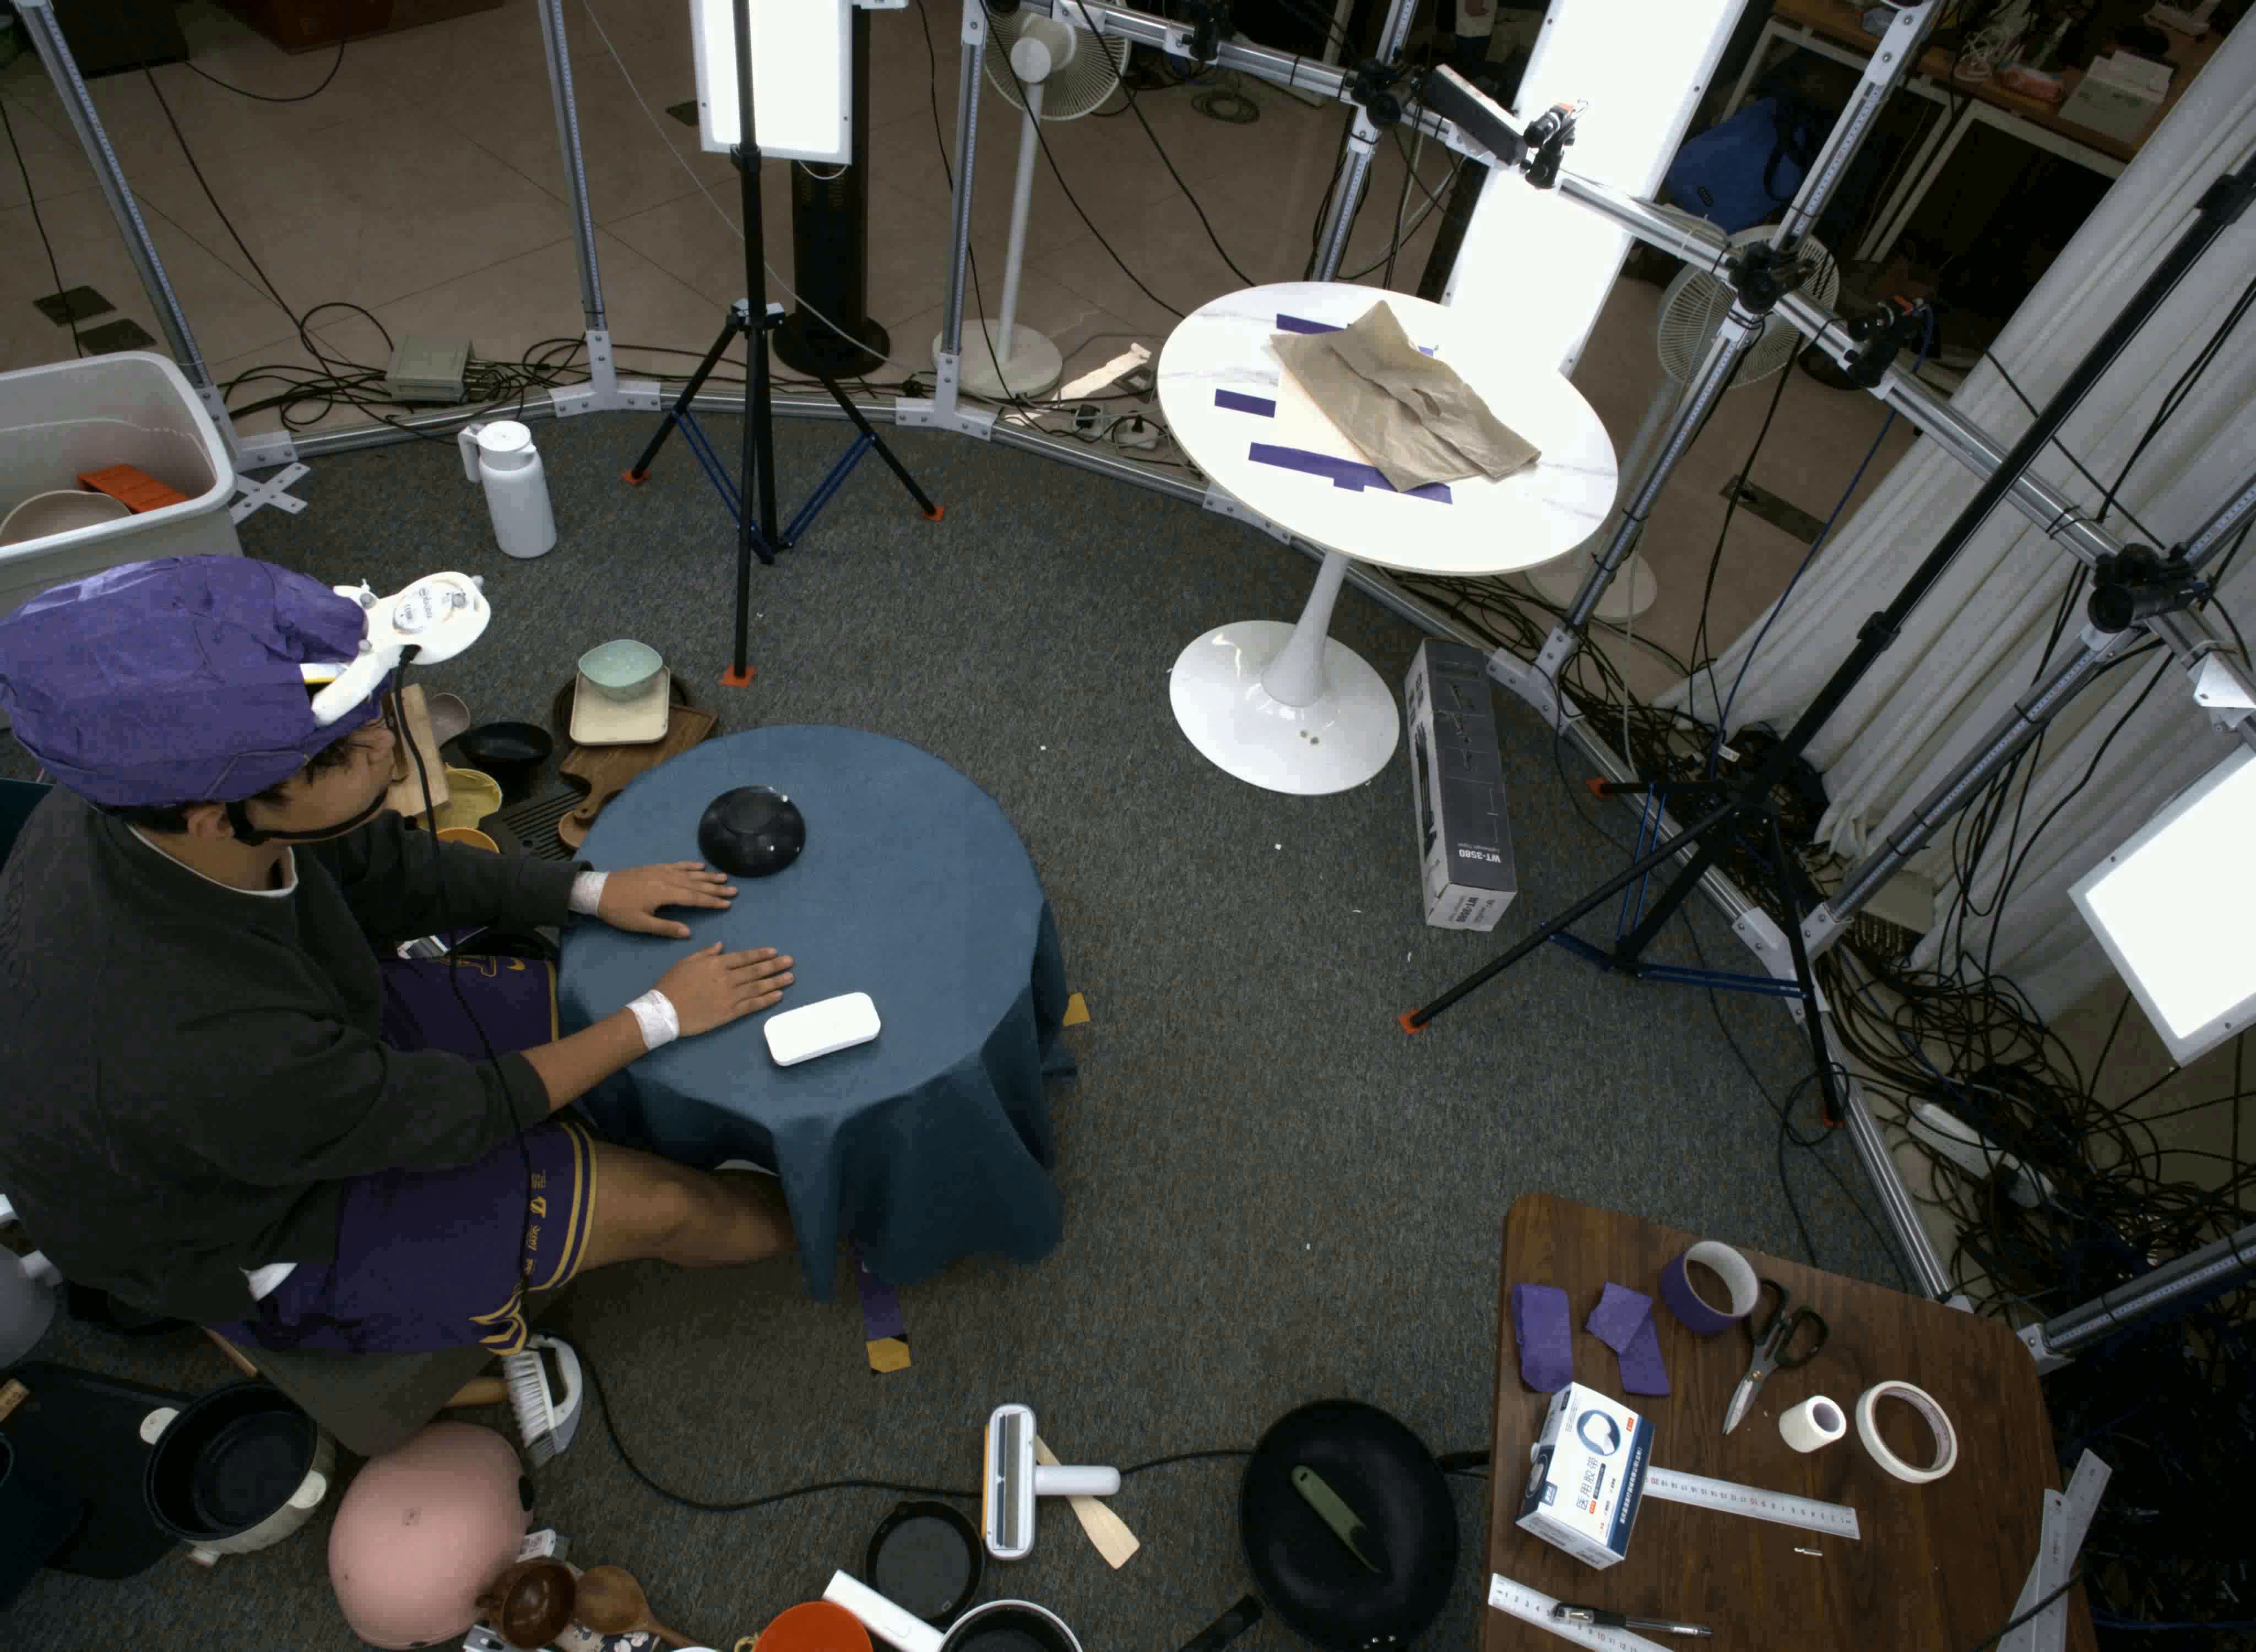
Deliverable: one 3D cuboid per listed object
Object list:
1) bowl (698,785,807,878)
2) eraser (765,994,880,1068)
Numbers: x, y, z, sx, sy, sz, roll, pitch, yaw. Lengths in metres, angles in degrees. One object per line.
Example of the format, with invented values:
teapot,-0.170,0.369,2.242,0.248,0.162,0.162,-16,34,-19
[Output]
bowl,-0.490,-0.004,1.682,0.140,0.050,0.137,9,53,-10
eraser,-0.364,0.239,1.545,0.132,0.035,0.062,-13,56,-24
